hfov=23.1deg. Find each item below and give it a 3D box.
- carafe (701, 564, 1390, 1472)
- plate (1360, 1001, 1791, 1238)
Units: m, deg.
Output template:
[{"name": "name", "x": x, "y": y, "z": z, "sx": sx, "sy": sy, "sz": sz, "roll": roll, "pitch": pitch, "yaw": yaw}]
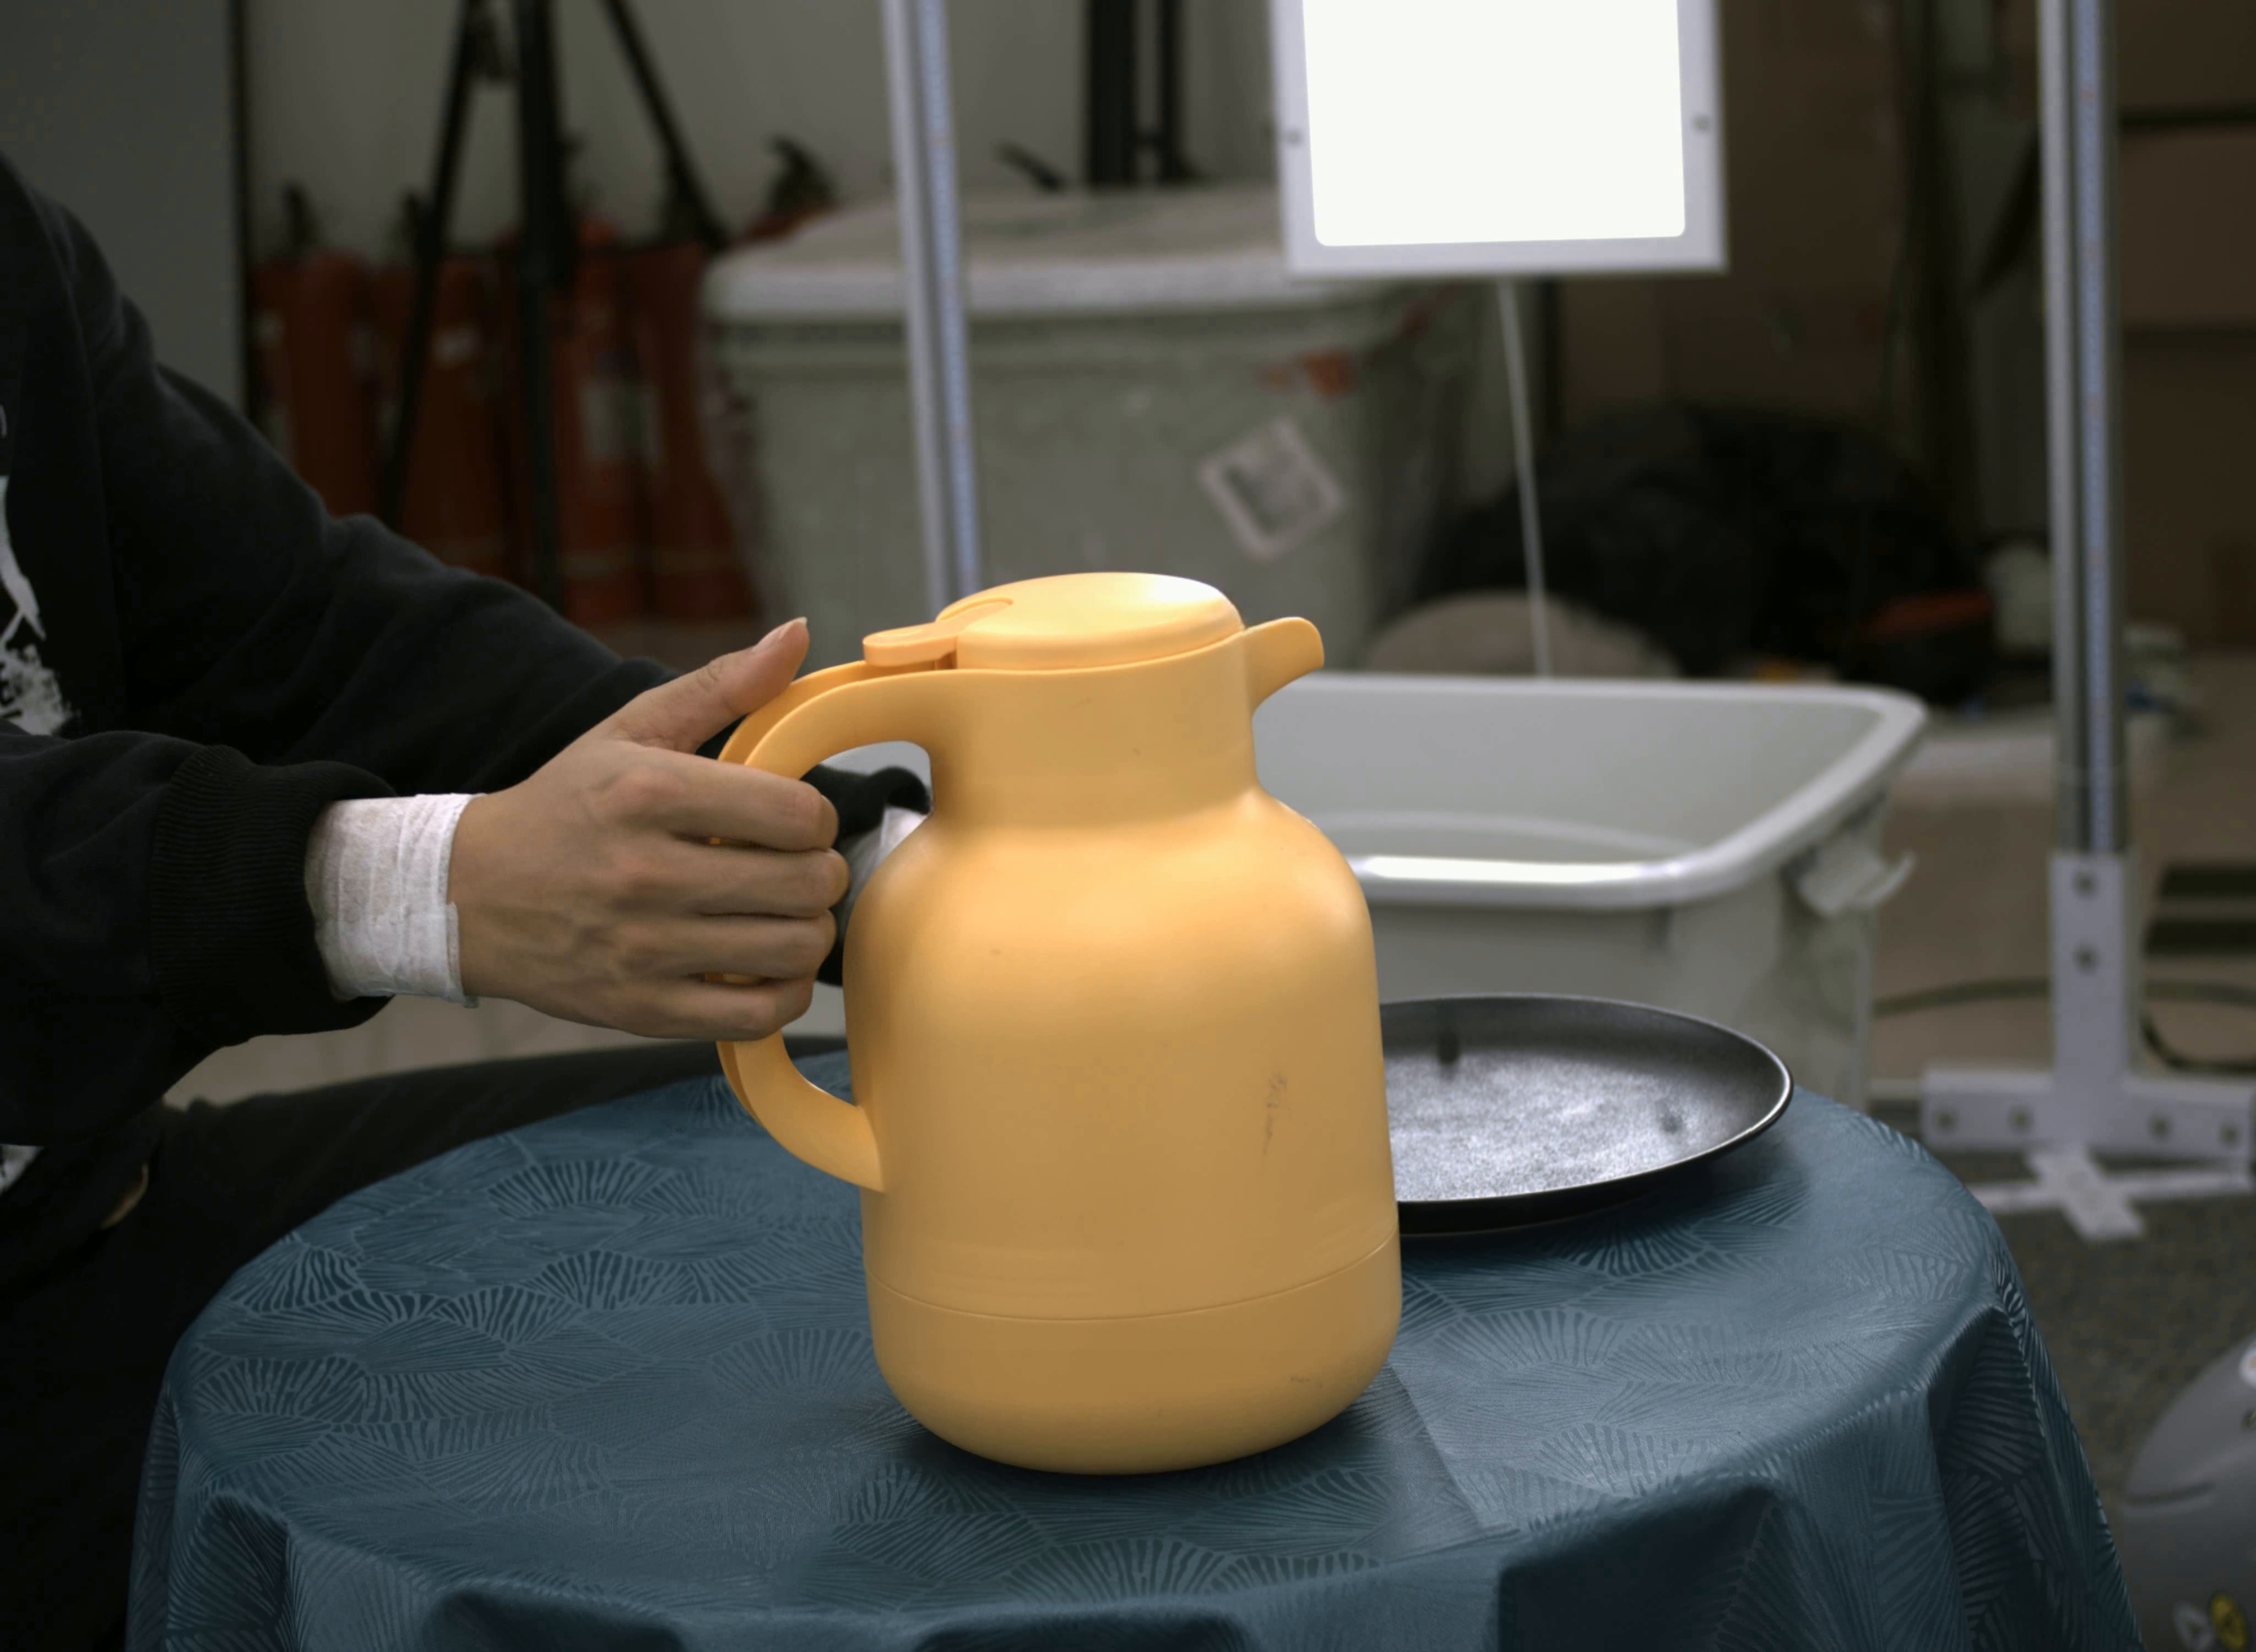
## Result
[{"name": "carafe", "x": -0.025, "y": 0.055, "z": 1.647, "sx": 0.200, "sy": 0.261, "sz": 0.165, "roll": -6, "pitch": 11, "yaw": -13}, {"name": "plate", "x": 0.109, "y": 0.103, "z": 1.904, "sx": 0.244, "sy": 0.023, "sz": 0.244, "roll": -5, "pitch": 14, "yaw": 0}]
